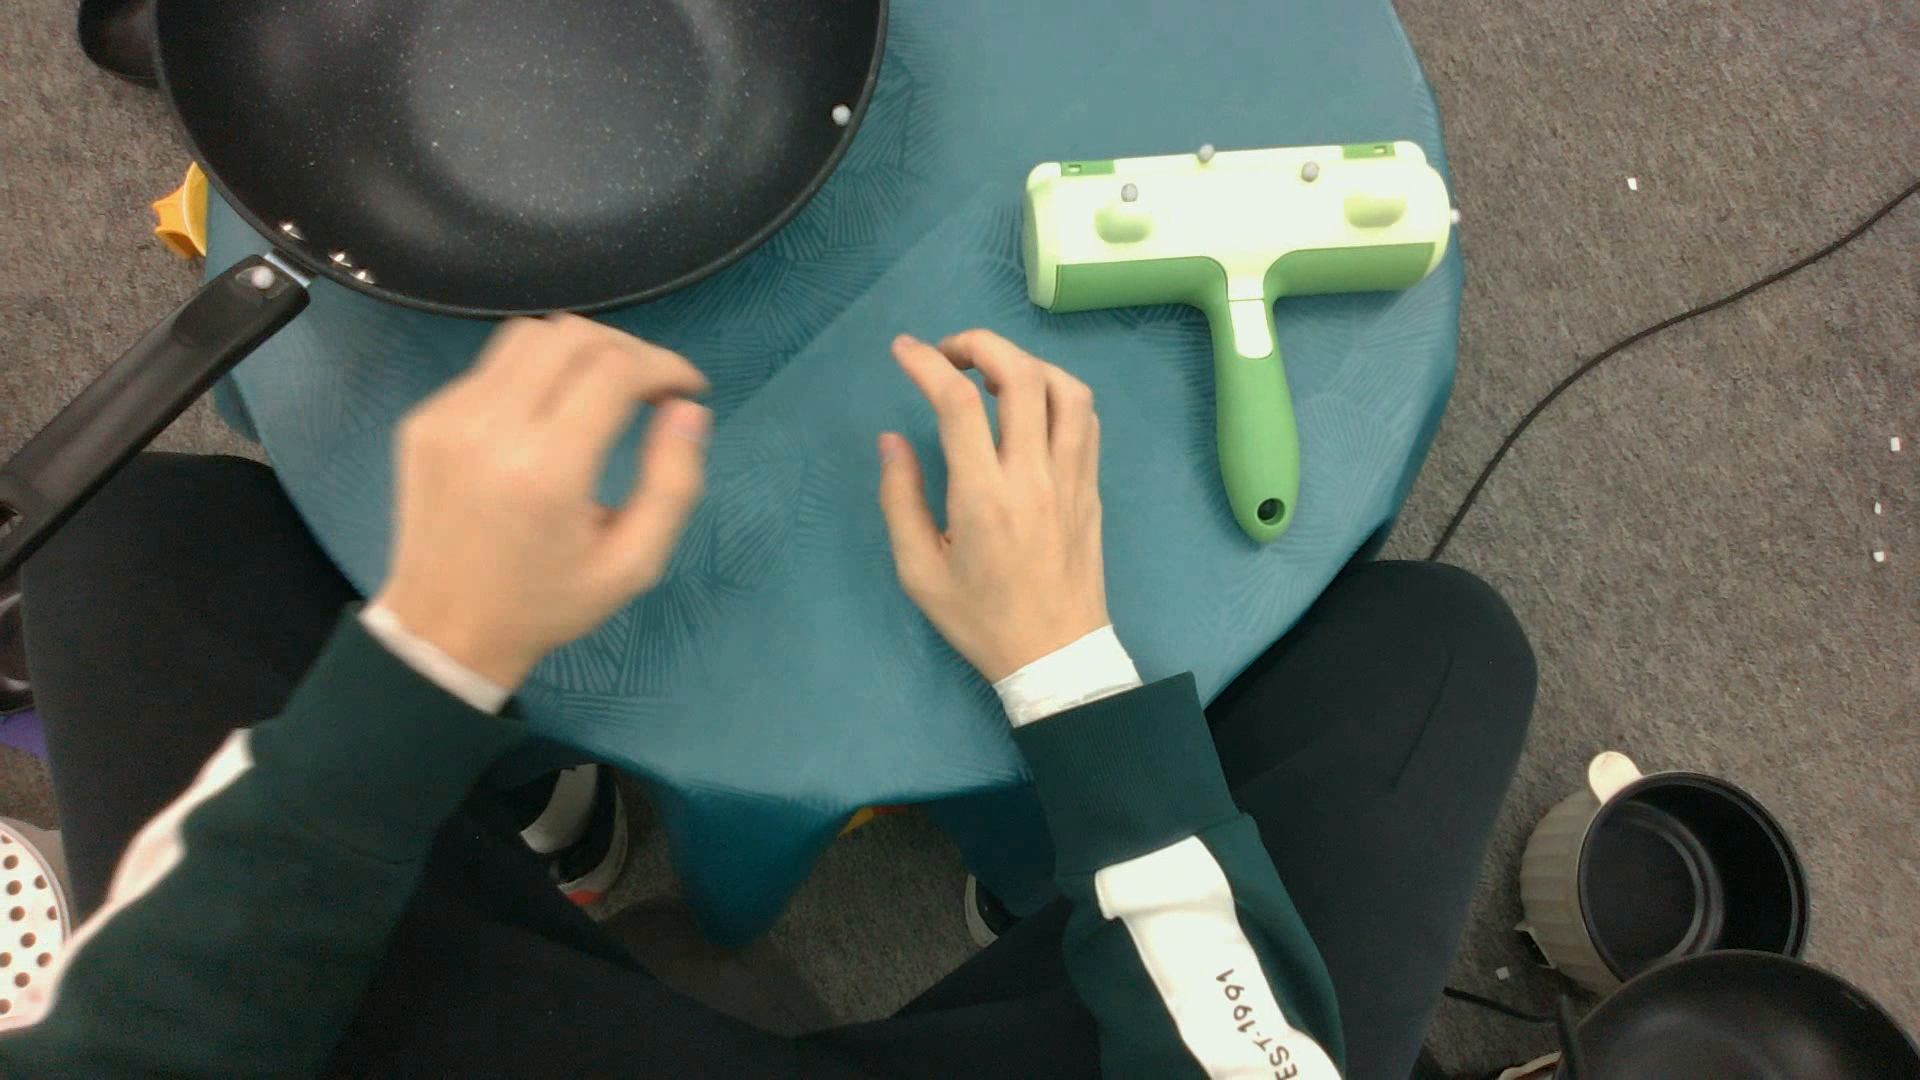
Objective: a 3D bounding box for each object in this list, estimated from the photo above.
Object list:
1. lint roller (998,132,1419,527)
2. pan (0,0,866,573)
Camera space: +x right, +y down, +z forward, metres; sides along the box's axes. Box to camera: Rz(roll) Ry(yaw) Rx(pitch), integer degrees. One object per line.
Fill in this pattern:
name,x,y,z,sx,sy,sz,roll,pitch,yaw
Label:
lint roller,0.125,-0.103,0.633,0.199,0.082,0.184,-5,72,-7
pan,-0.240,-0.168,0.598,0.310,0.111,0.478,31,75,4
